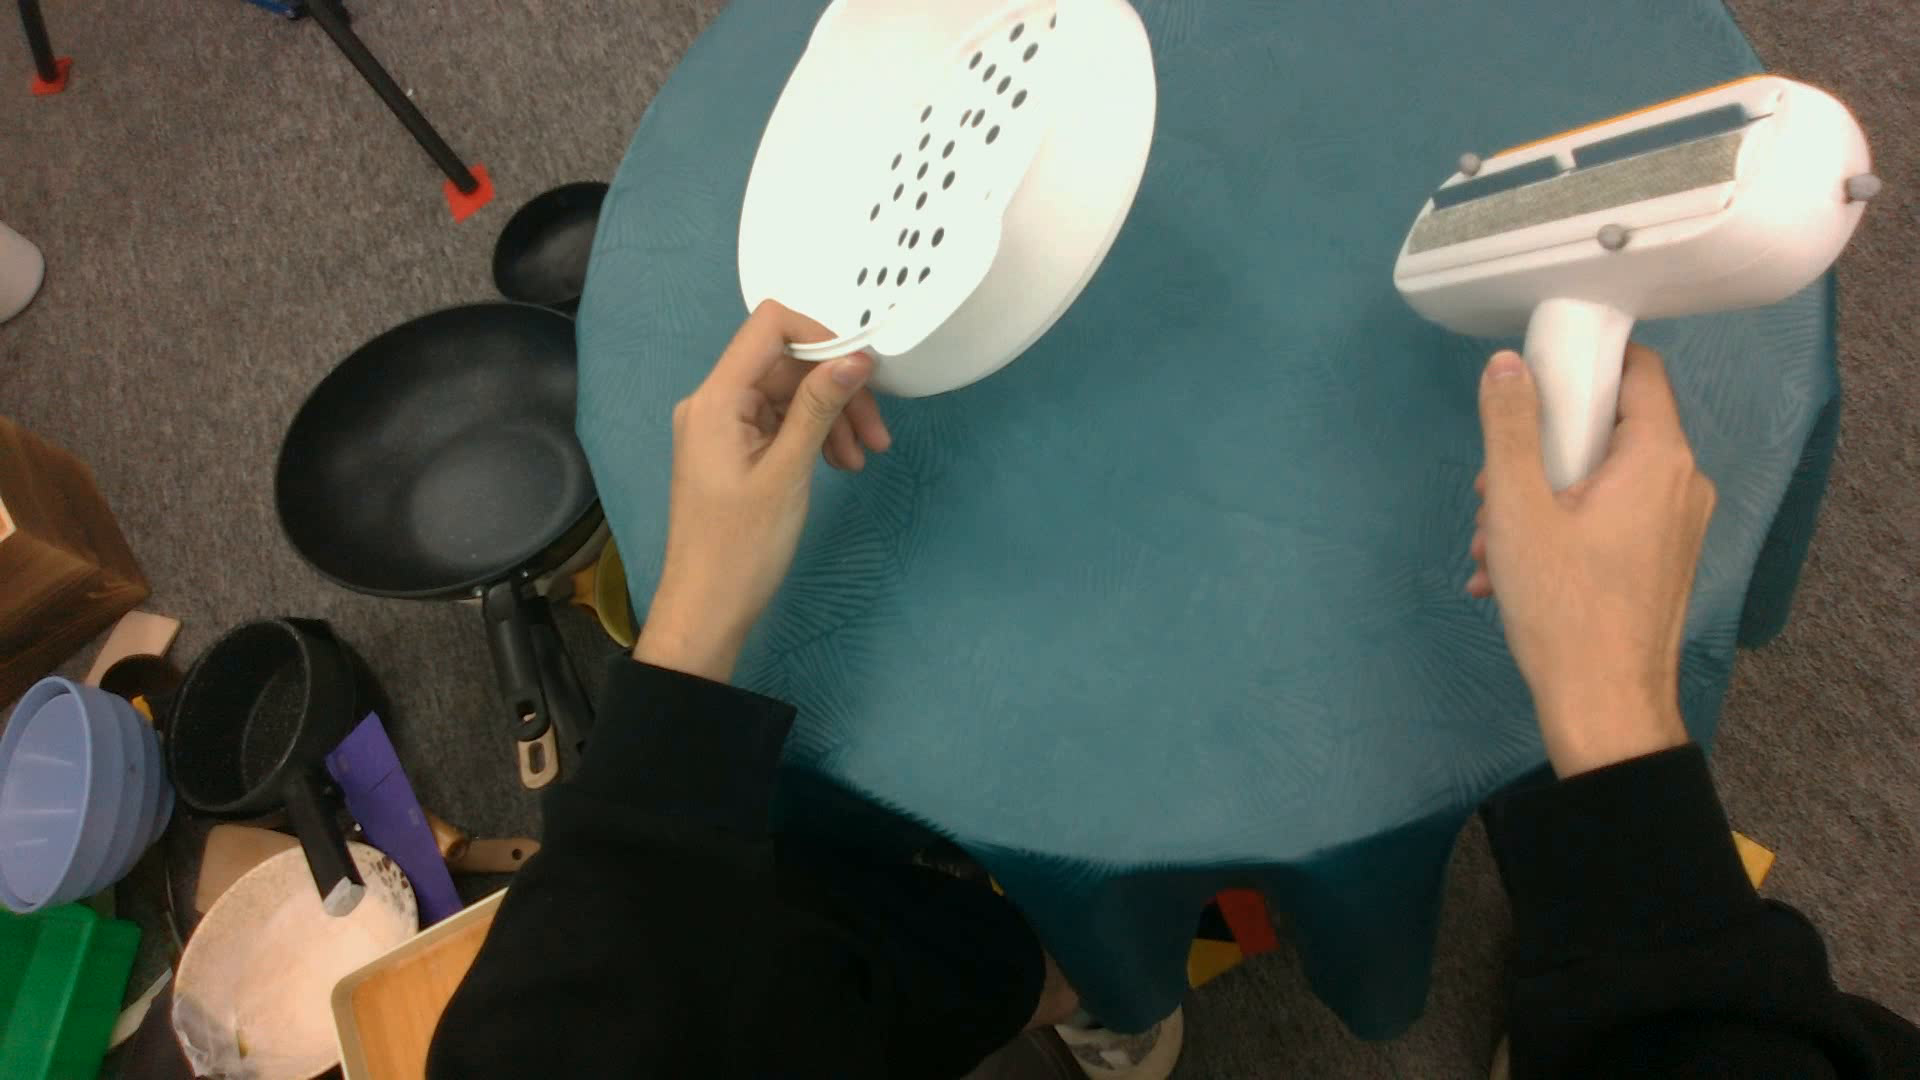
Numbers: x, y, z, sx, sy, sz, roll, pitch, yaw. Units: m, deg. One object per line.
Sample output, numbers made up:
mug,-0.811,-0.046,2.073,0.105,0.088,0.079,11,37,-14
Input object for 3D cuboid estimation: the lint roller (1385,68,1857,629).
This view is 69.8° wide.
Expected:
lint roller,0.216,-0.064,0.508,0.074,0.193,0.192,19,91,-22

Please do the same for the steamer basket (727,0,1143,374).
steamer basket,-0.015,-0.170,0.586,0.201,0.069,0.231,-41,48,30
